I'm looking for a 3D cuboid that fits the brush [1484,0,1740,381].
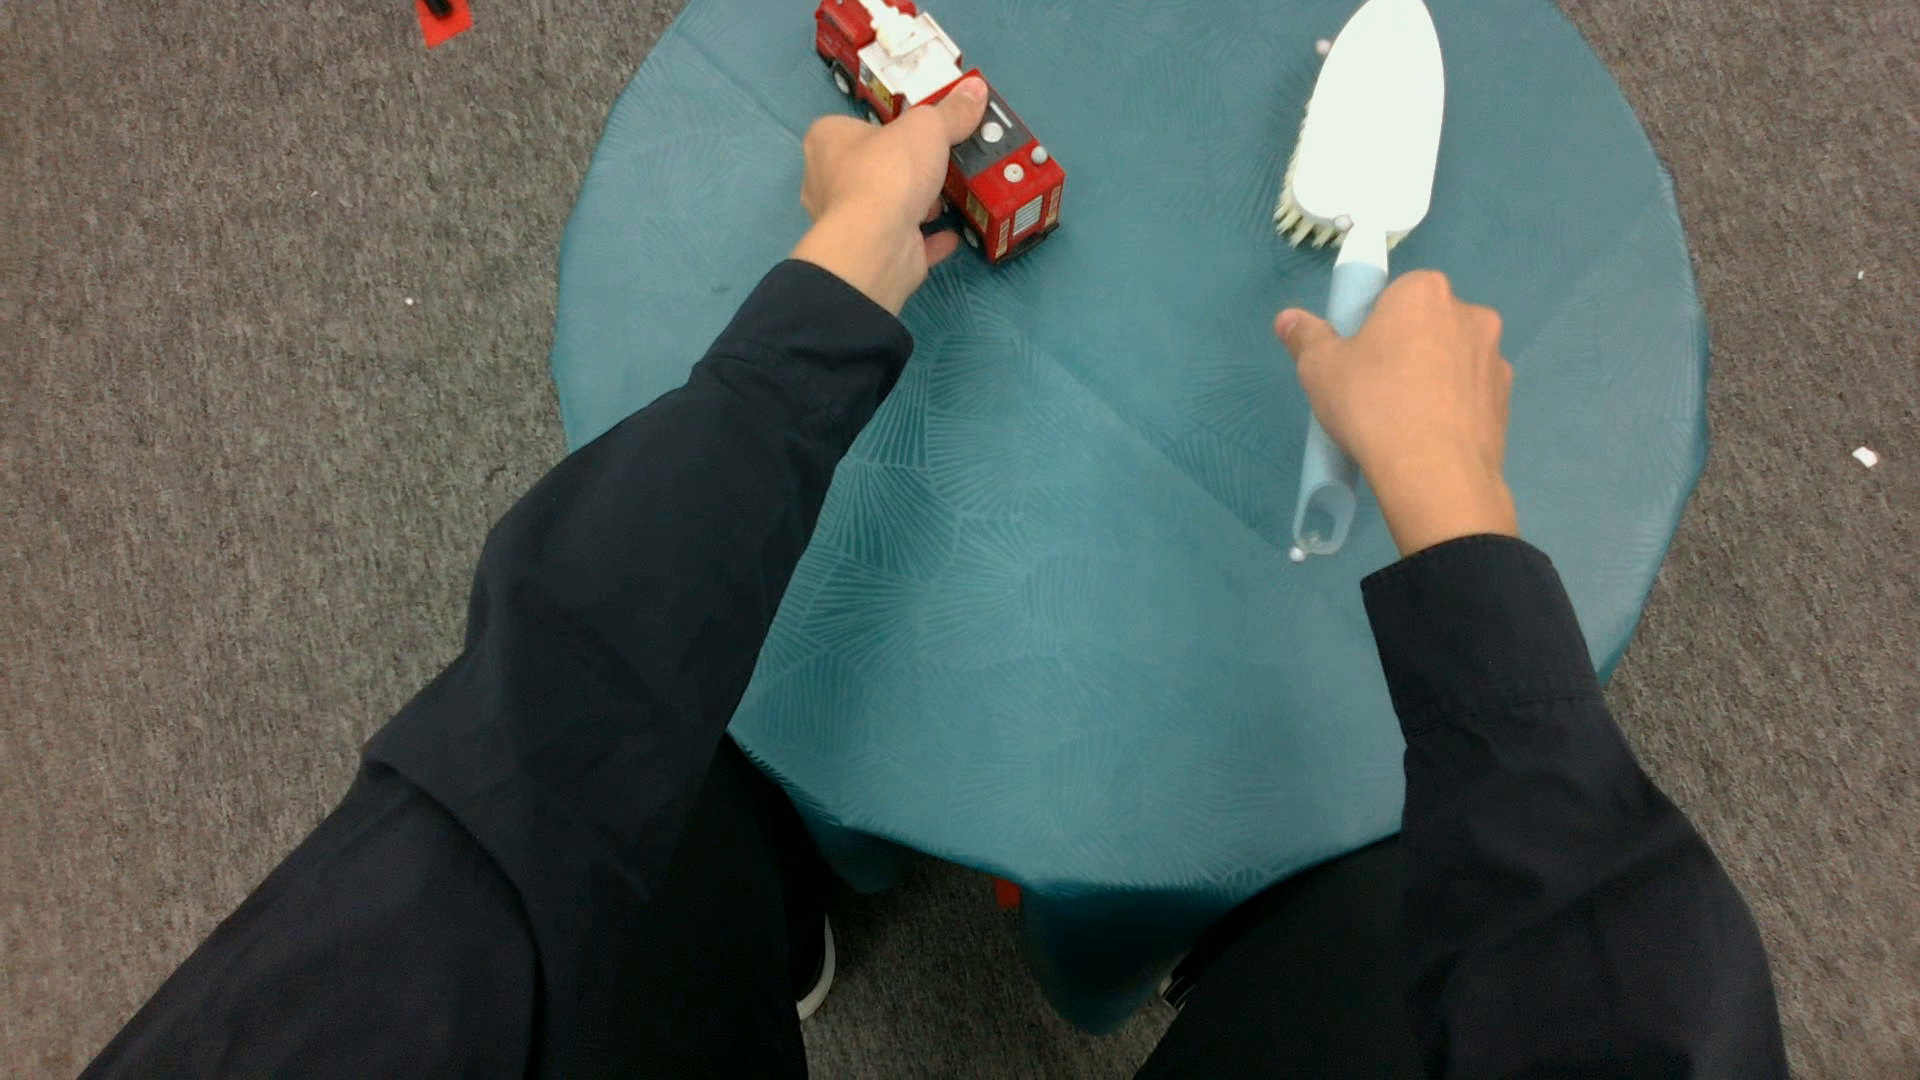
[{"bbox_3d":[0.291,-0.209,0.619,0.083,0.084,0.326,19,79,42],"label":"brush"}]
